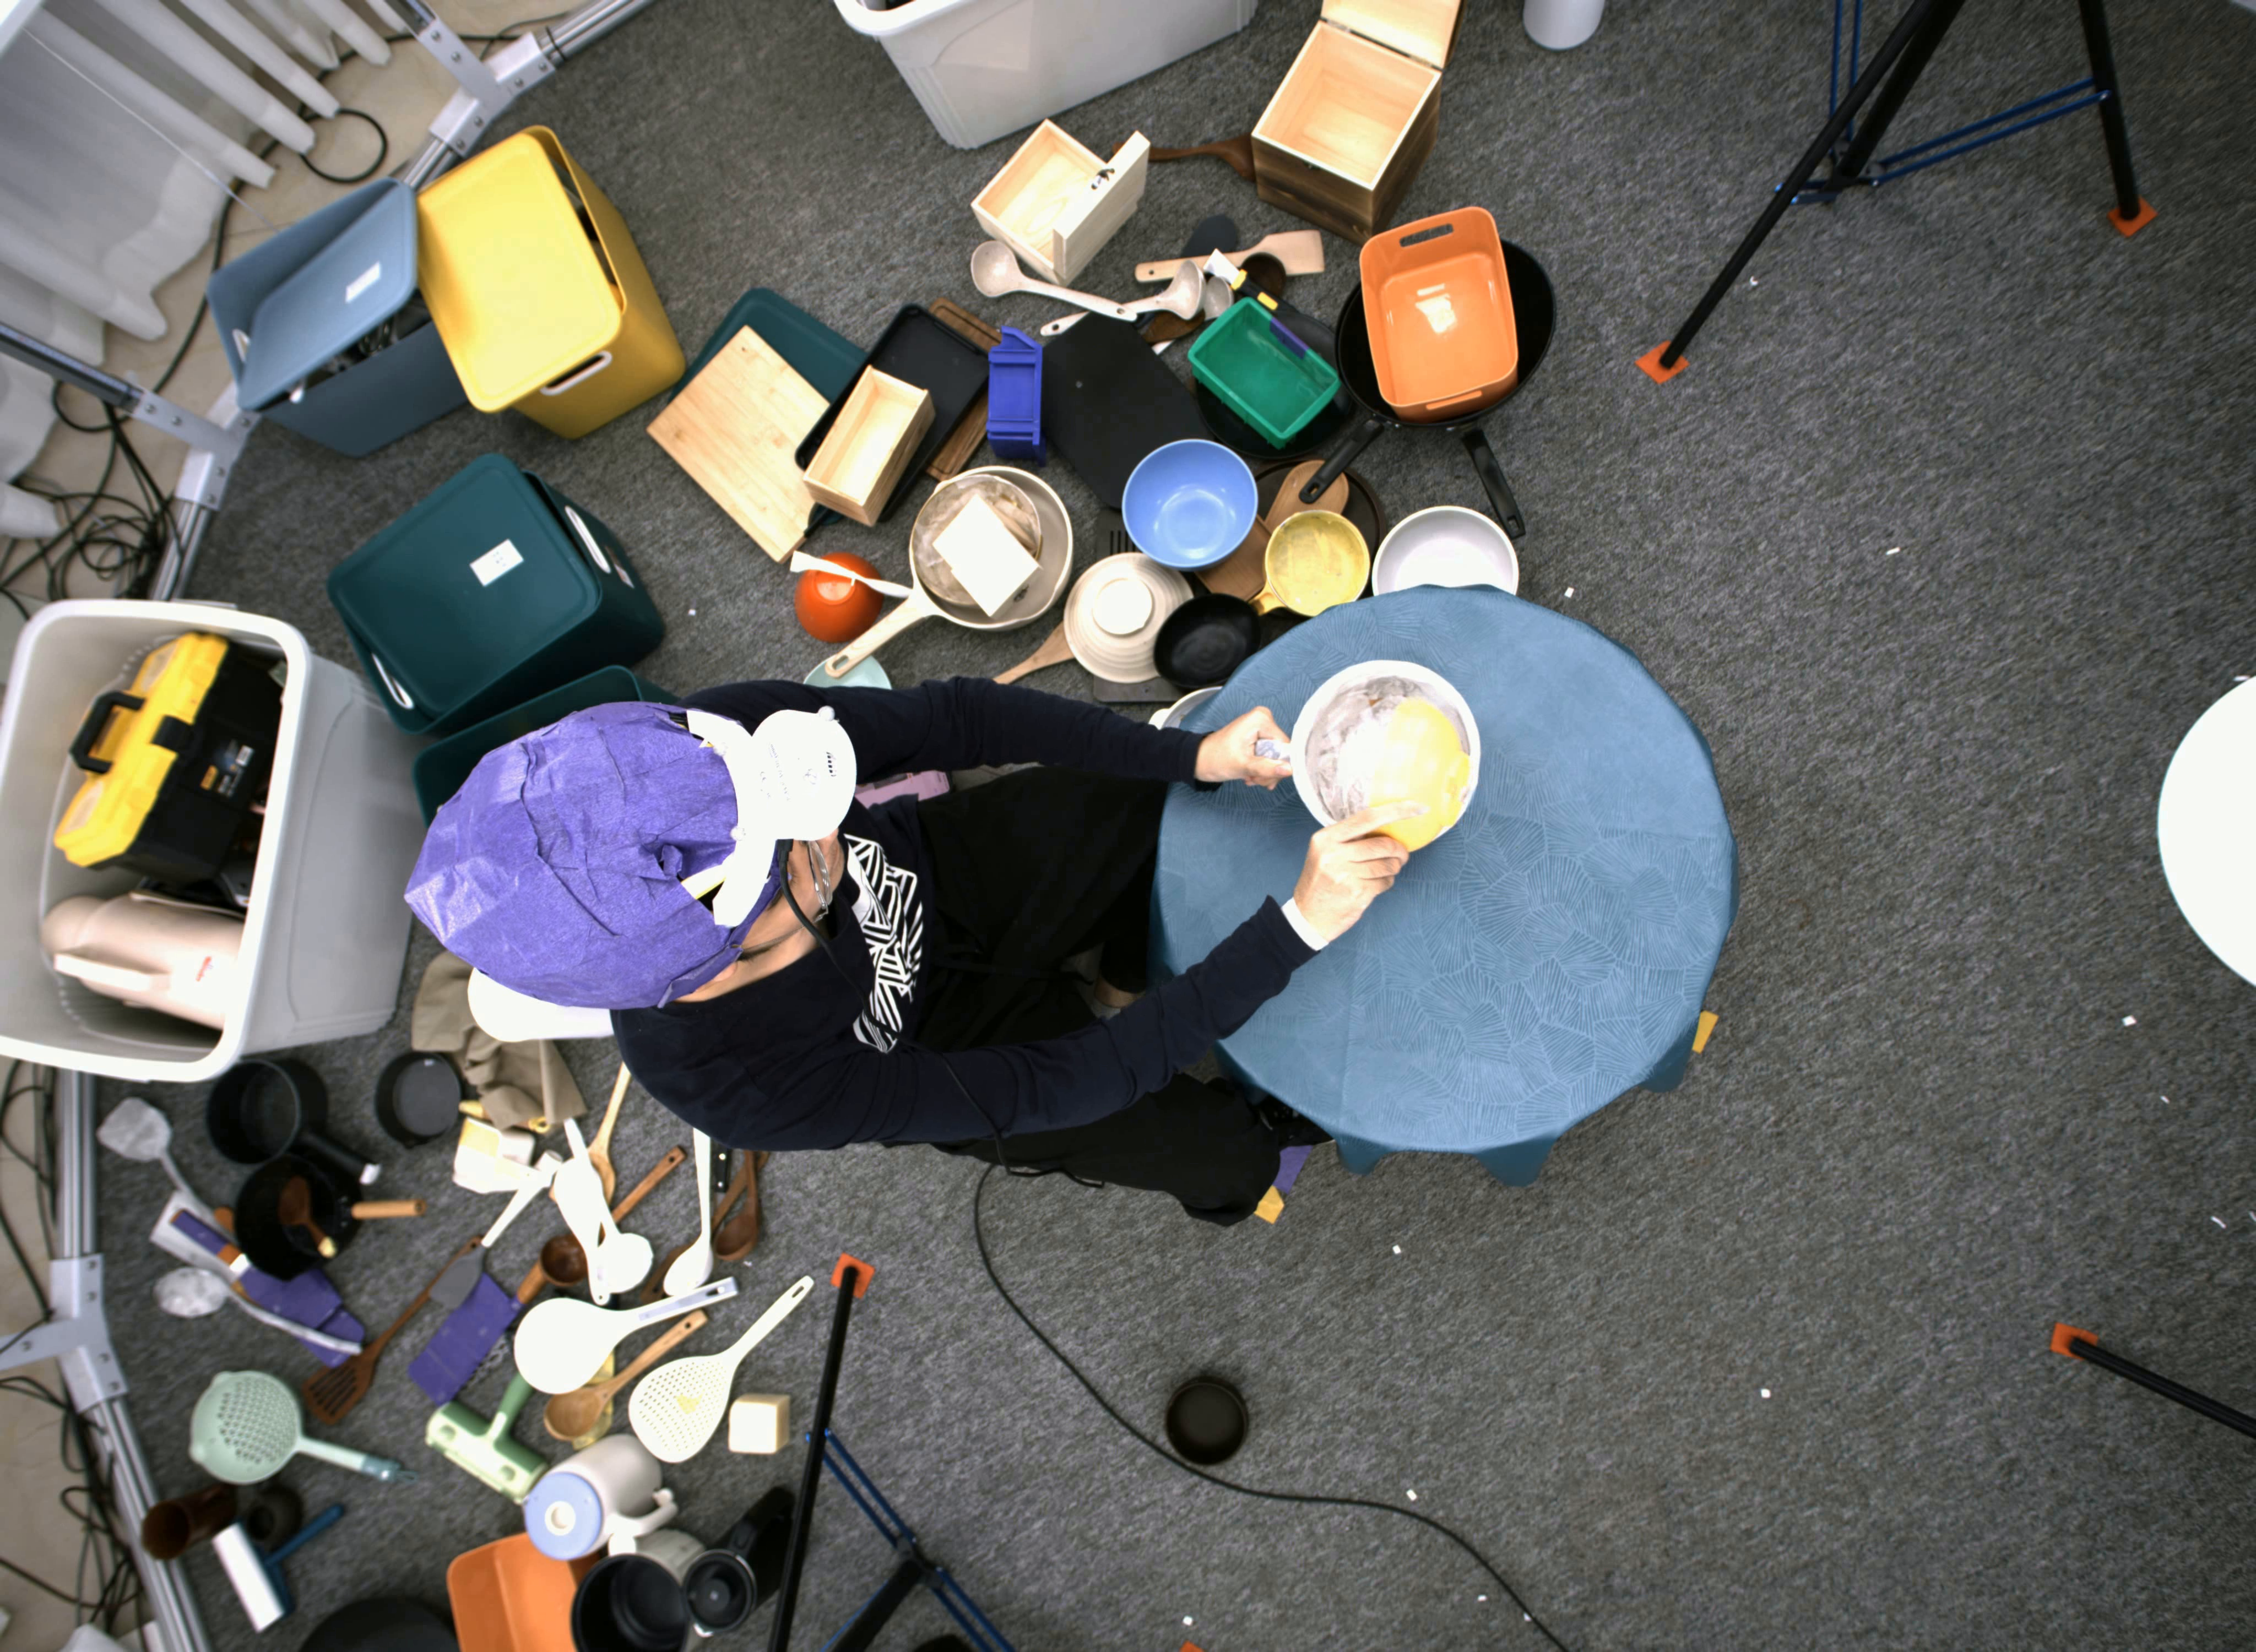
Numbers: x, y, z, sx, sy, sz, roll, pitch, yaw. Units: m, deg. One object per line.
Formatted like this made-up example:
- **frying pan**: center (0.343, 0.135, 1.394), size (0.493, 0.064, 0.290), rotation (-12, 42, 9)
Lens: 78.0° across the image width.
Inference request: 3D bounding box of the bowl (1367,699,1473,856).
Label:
- **bowl**: center (0.264, -0.037, 1.208), size (0.060, 0.145, 0.145), rotation (17, 88, 24)

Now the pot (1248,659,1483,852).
- **pot**: center (0.230, -0.066, 1.360), size (0.235, 0.136, 0.178), rotation (1, 87, 14)
